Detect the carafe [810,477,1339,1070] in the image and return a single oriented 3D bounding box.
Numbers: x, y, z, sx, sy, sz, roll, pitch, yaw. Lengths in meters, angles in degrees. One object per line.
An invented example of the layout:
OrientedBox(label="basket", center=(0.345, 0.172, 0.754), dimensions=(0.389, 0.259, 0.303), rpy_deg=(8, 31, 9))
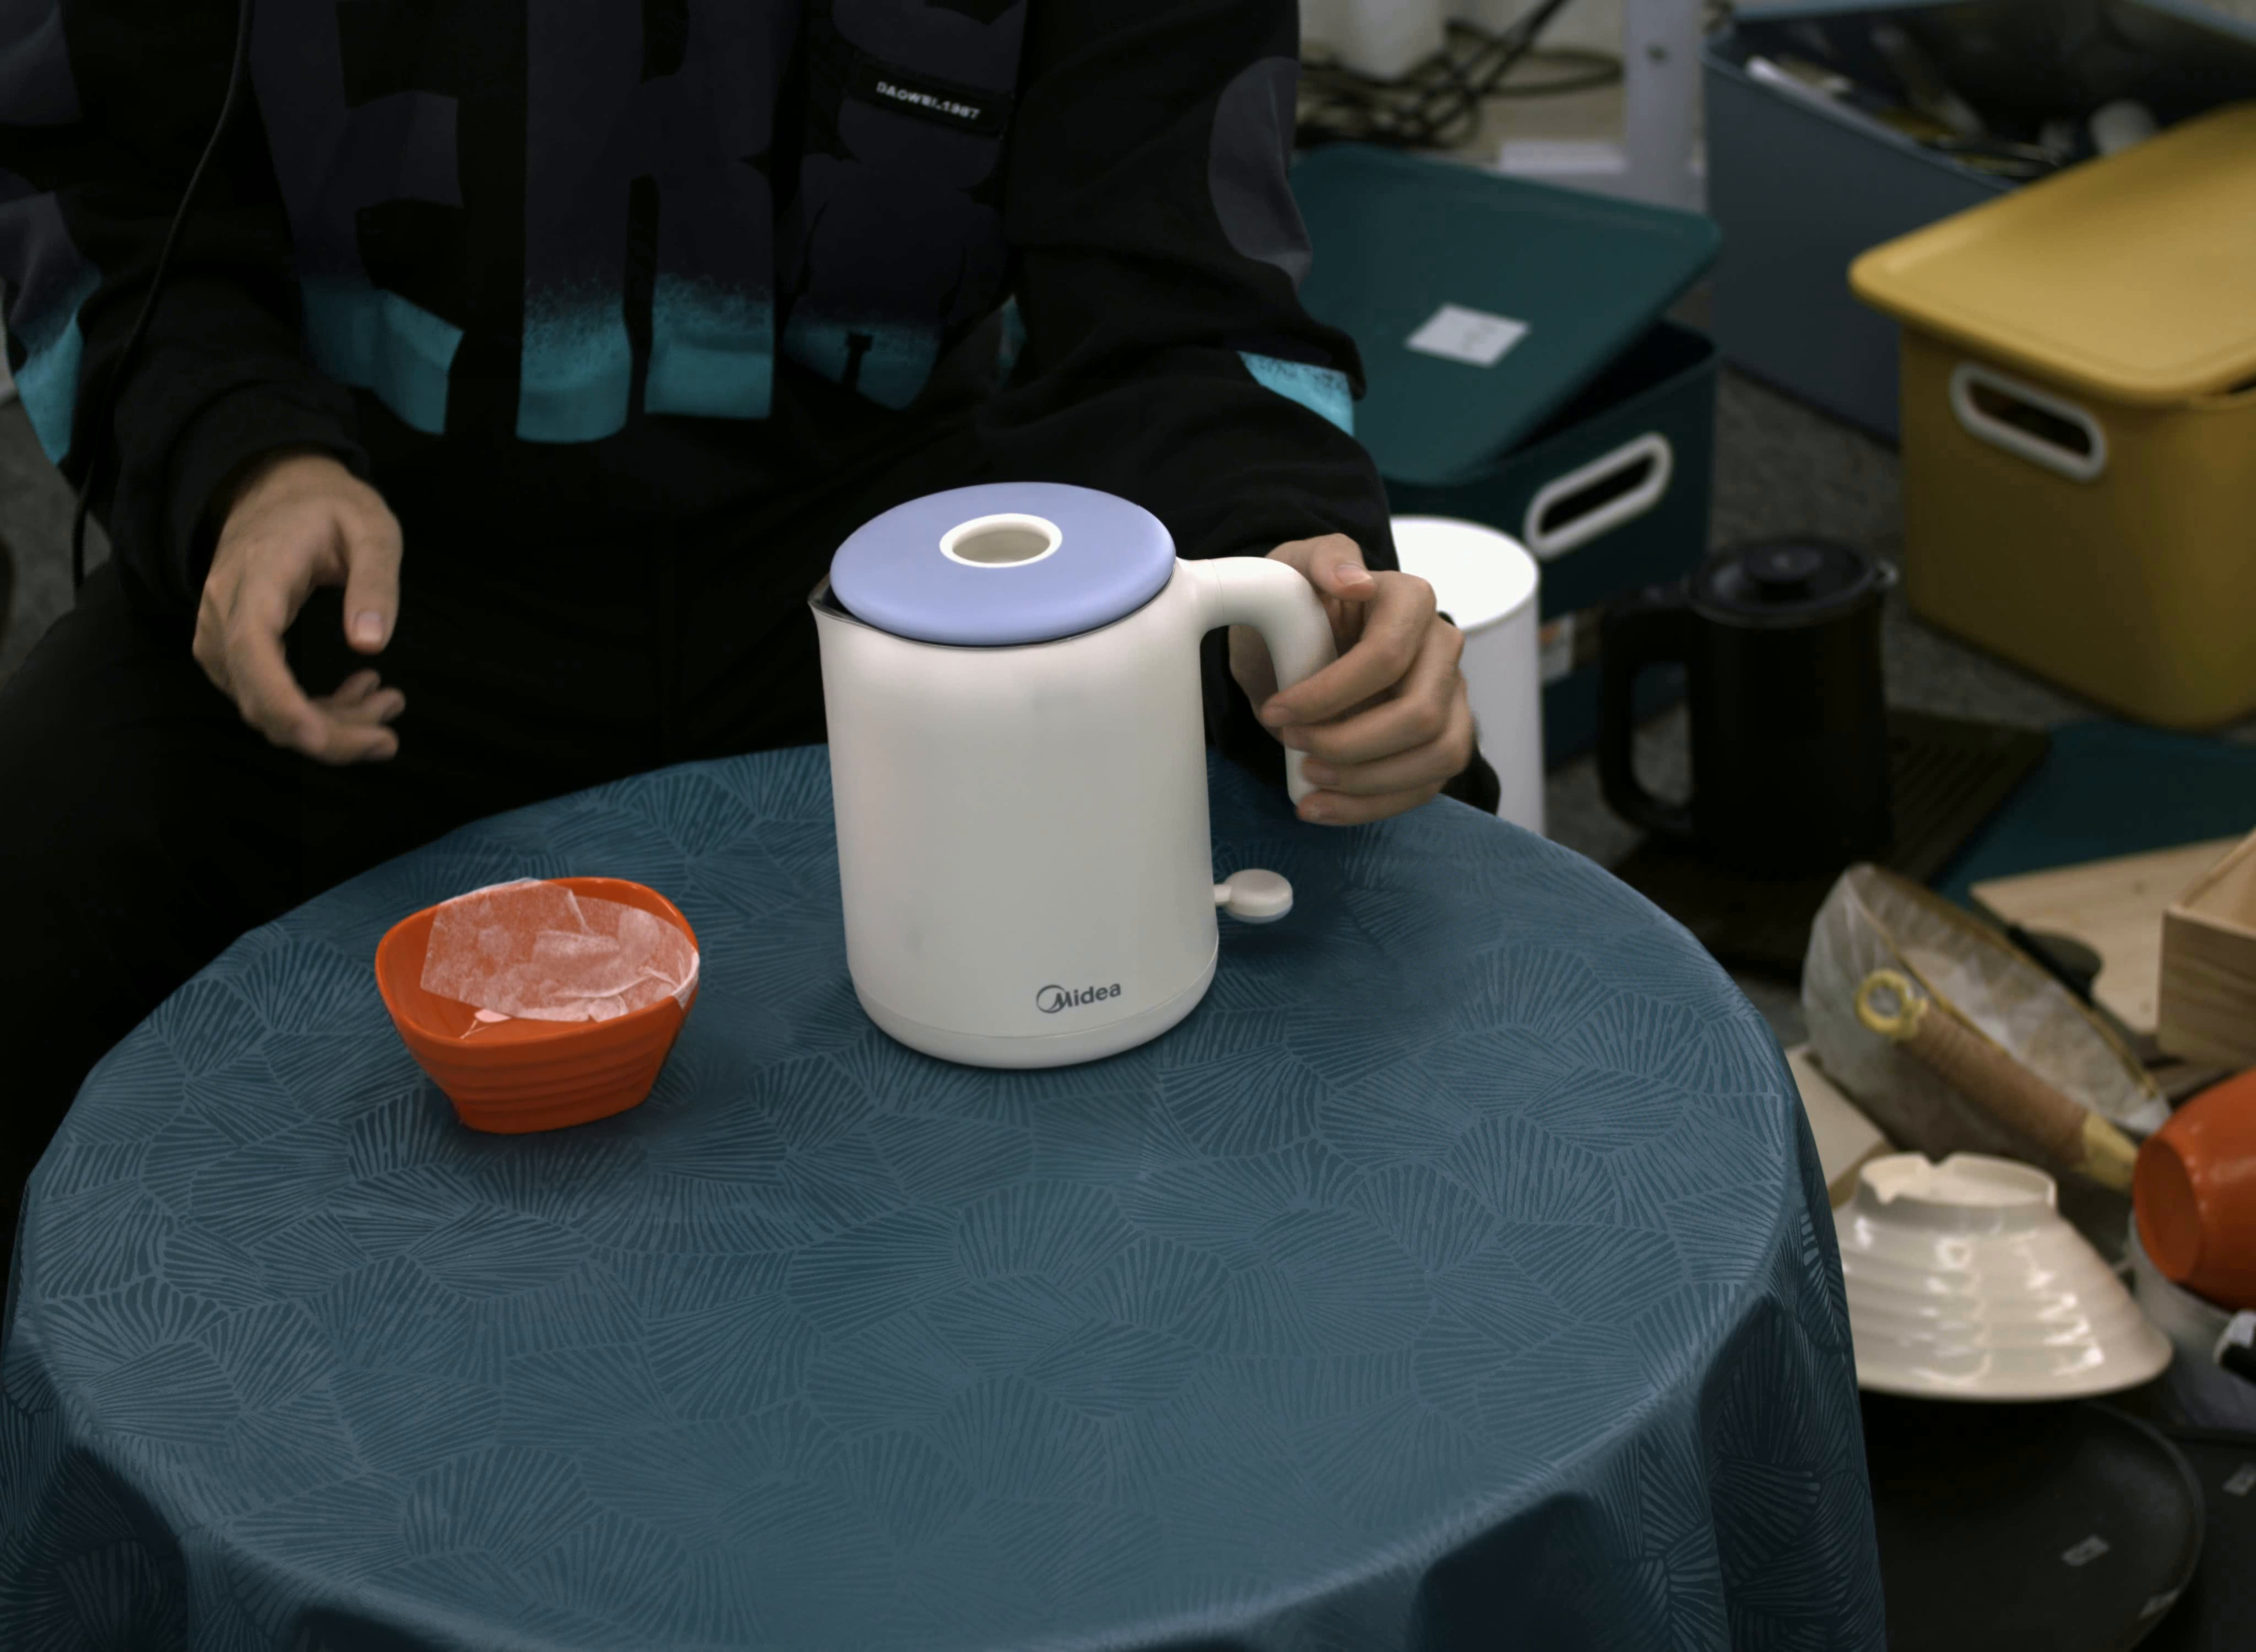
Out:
OrientedBox(label="carafe", center=(-0.016, -0.022, 1.957), dimensions=(0.191, 0.180, 0.133), rpy_deg=(-9, 28, -16))

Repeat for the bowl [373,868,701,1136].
OrientedBox(label="bowl", center=(-0.201, 0.065, 1.931), dimensions=(0.118, 0.051, 0.121), rpy_deg=(-3, 30, 2))
